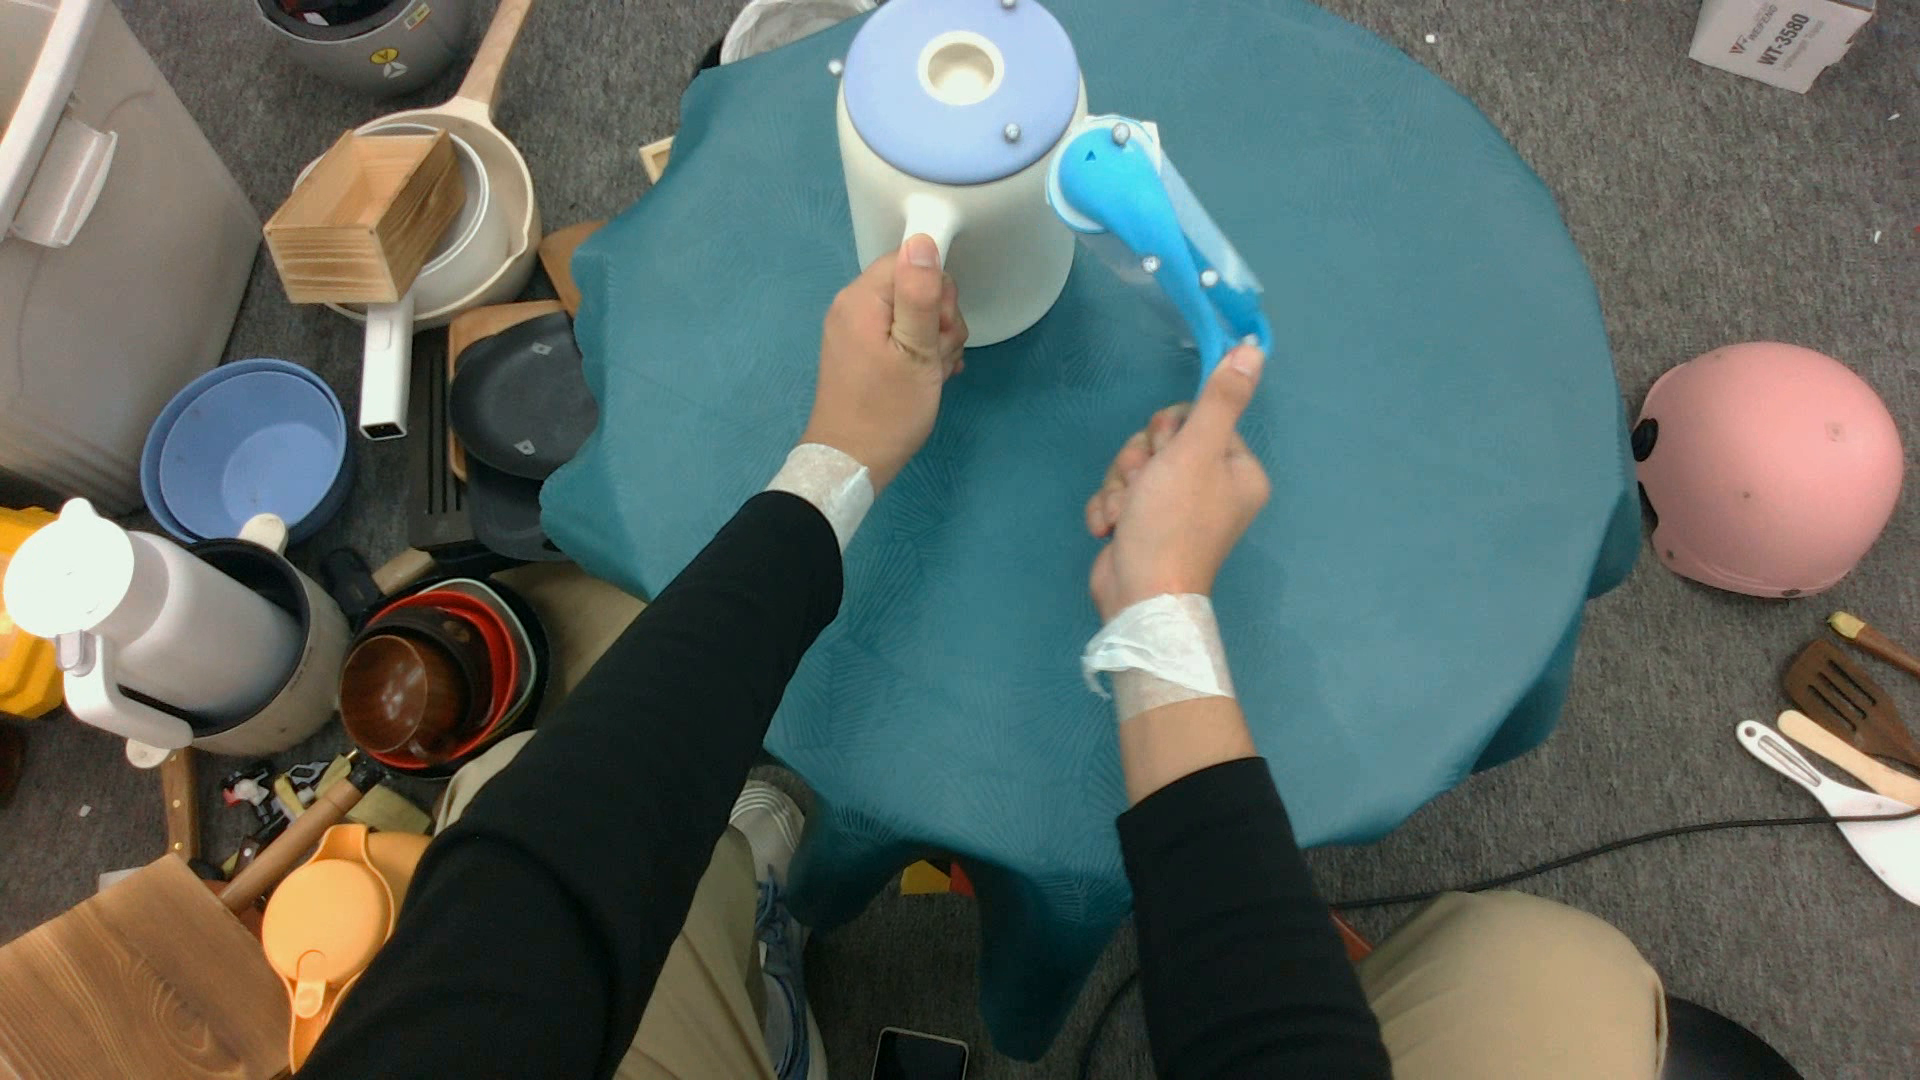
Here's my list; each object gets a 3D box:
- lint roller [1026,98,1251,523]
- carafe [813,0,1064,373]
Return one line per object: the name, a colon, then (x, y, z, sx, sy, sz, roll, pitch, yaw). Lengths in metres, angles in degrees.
lint roller: (0.096, -0.100, 0.690, 0.068, 0.229, 0.180, -5, 82, 23)
carafe: (-0.016, -0.189, 0.758, 0.132, 0.182, 0.191, 10, 73, 4)
